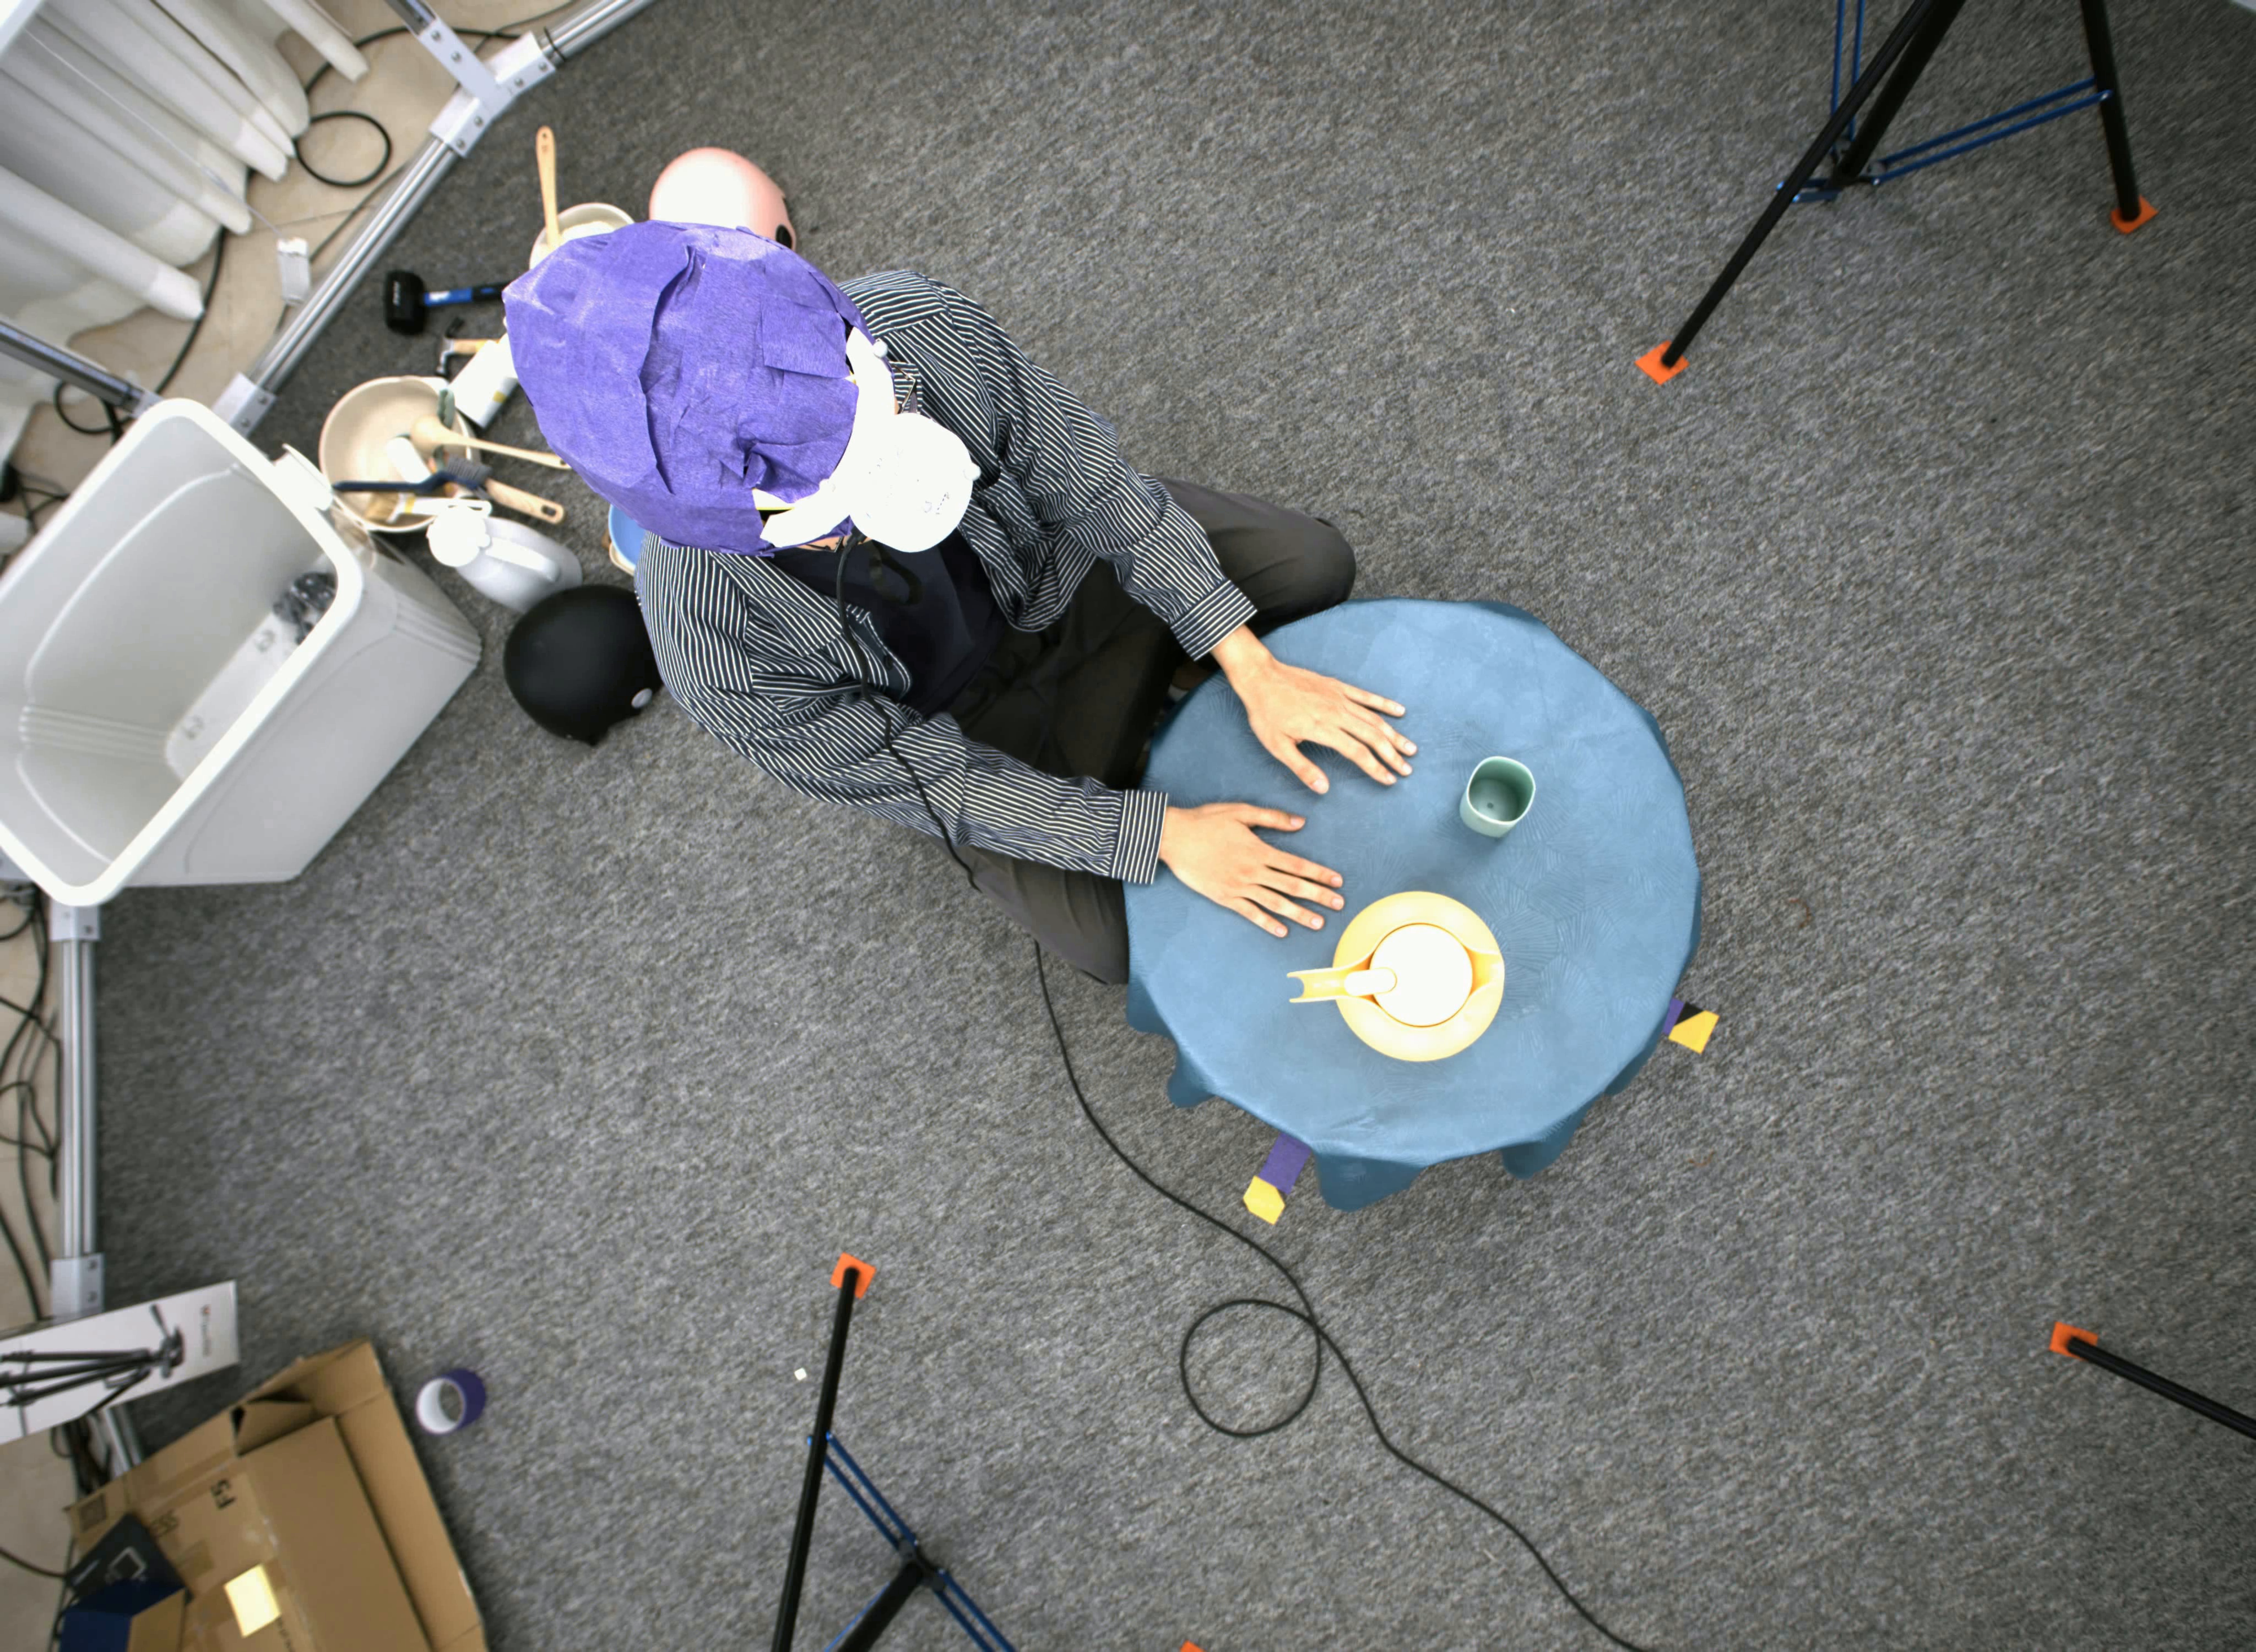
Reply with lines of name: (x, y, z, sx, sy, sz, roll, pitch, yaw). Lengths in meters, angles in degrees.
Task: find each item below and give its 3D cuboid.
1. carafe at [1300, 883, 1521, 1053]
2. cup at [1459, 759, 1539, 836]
carafe: (0.267, 0.134, 1.315, 0.203, 0.261, 0.162, -9, 83, 9)
cup: (0.367, -0.029, 1.372, 0.067, 0.132, 0.066, -1, 86, 9)
